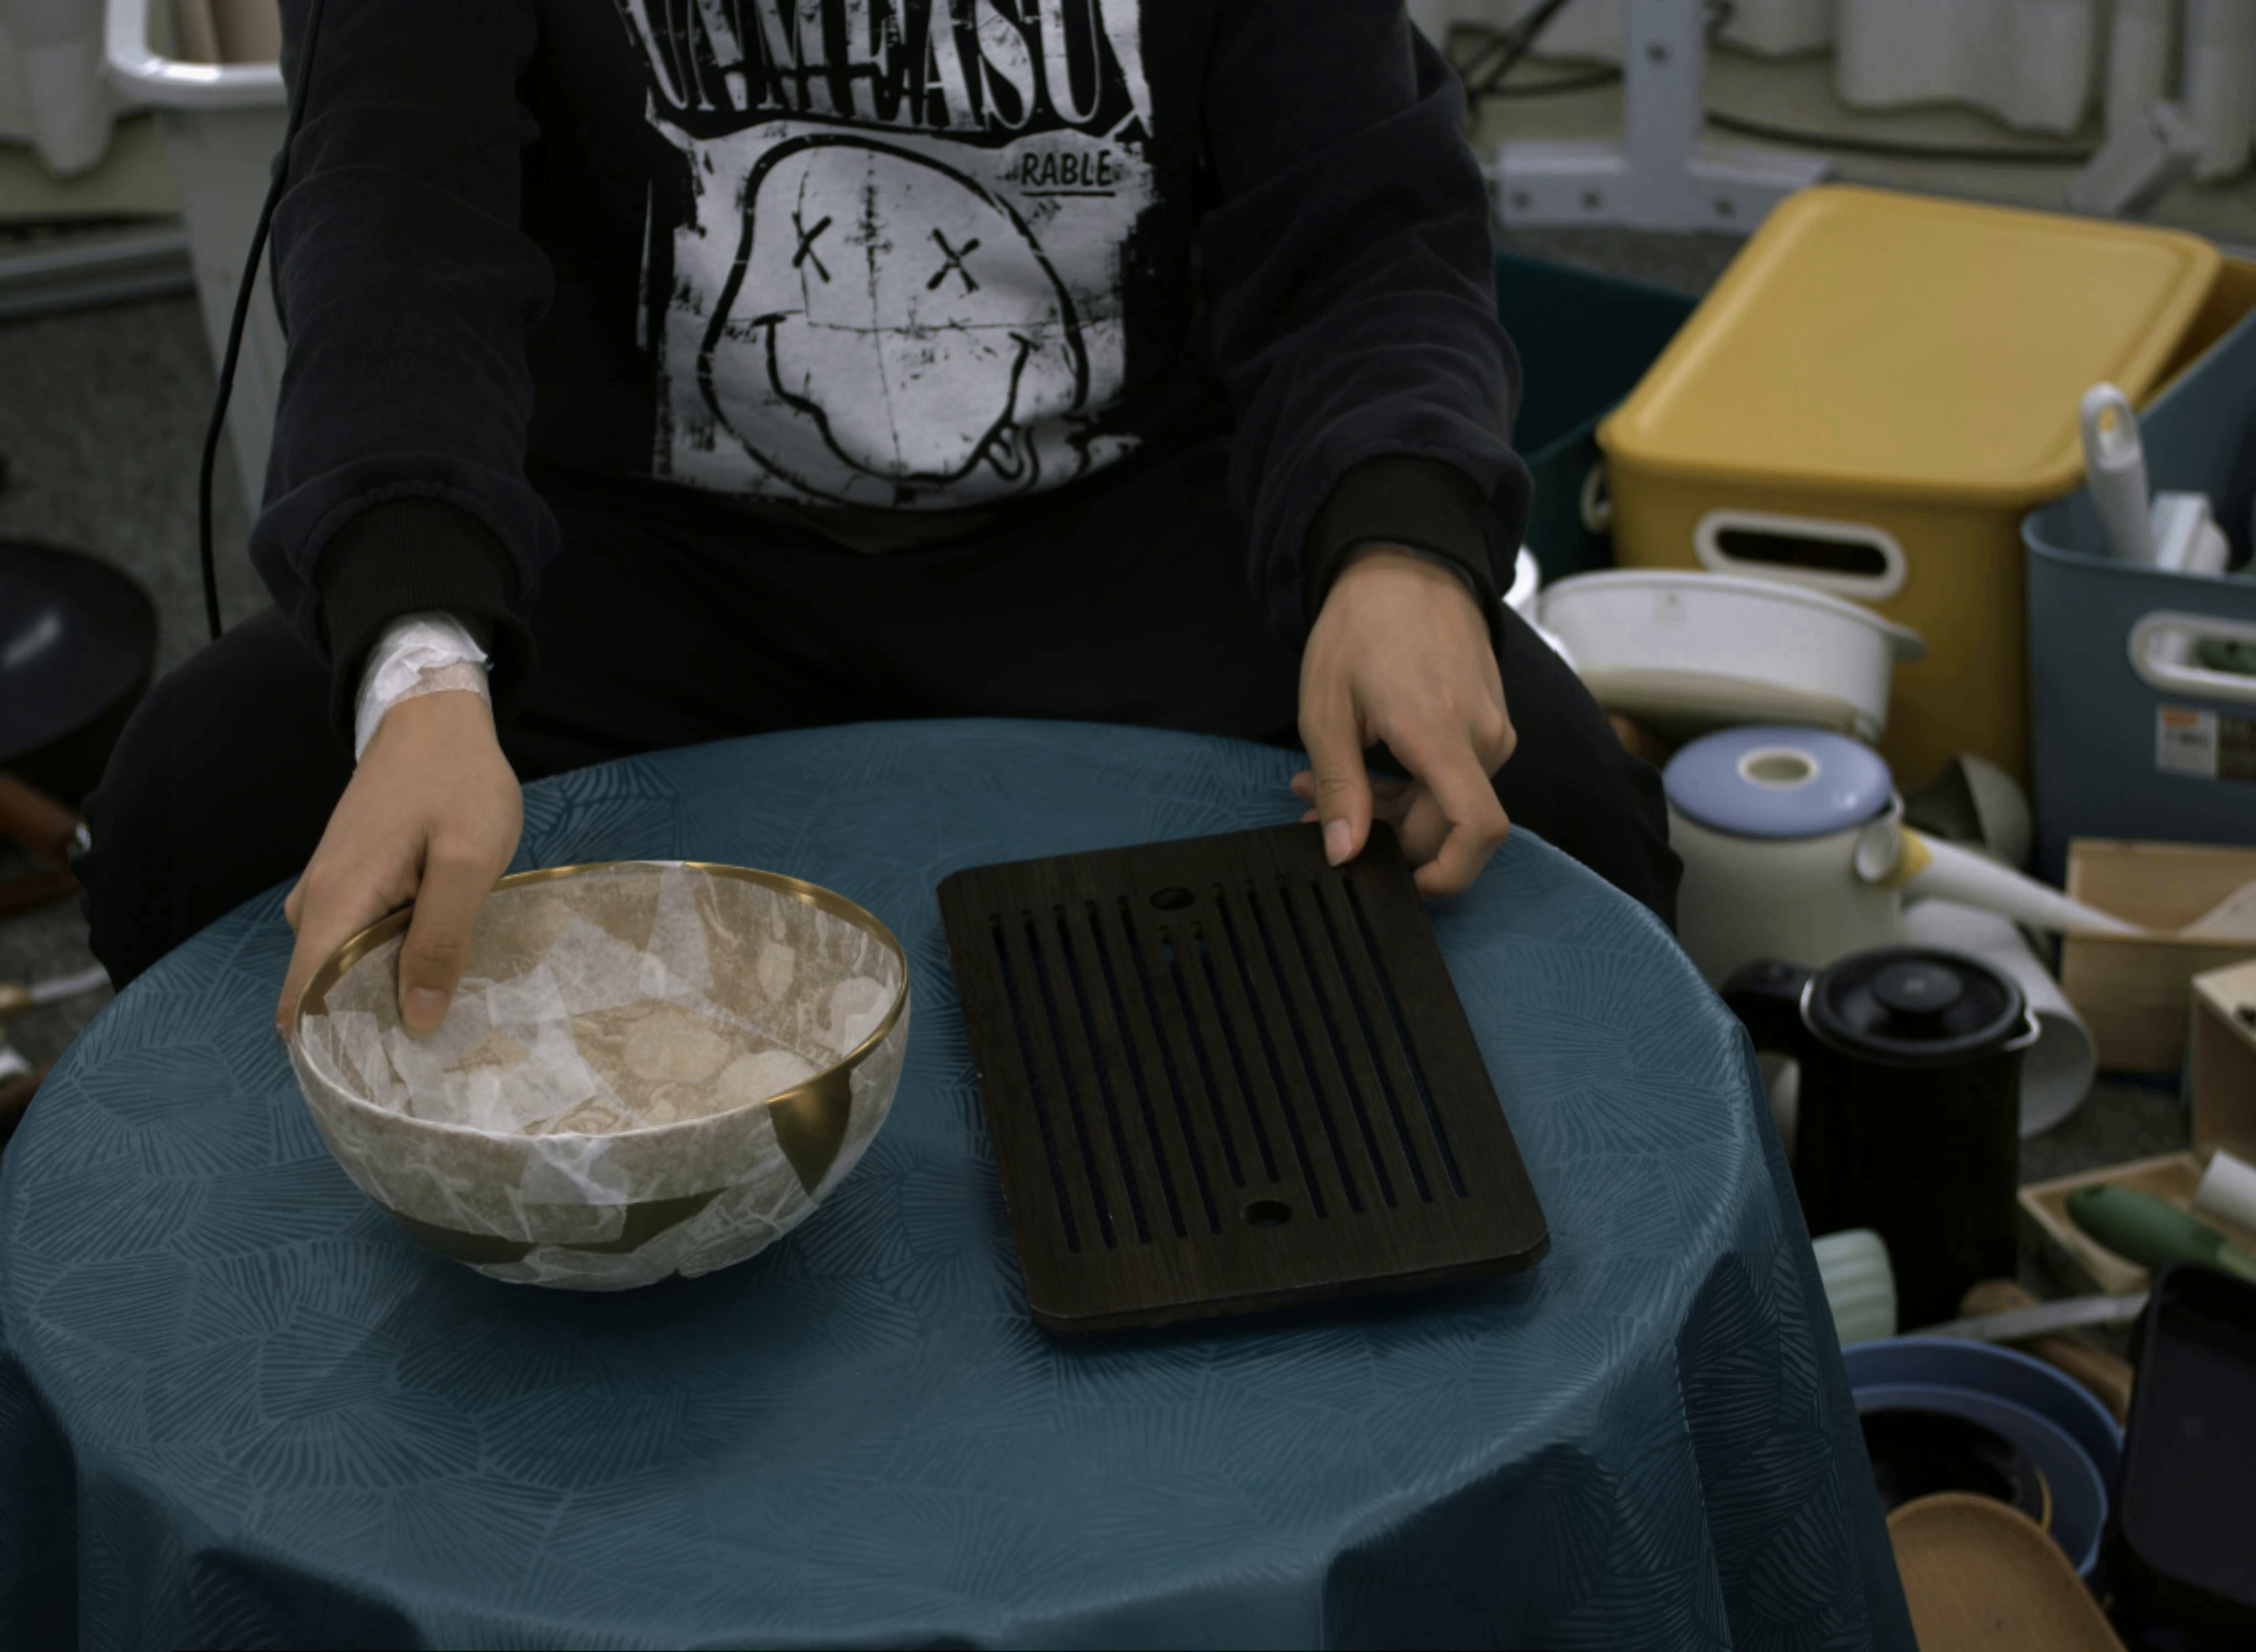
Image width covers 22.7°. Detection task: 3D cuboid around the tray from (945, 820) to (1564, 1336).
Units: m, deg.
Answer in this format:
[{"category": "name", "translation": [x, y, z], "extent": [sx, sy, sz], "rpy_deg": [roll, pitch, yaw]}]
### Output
[{"category": "tray", "translation": [0.037, 0.083, 1.909], "extent": [0.169, 0.018, 0.310], "rpy_deg": [-7, 27, -5]}]

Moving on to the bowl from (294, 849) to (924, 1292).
[{"category": "bowl", "translation": [-0.164, 0.092, 1.834], "extent": [0.213, 0.094, 0.217], "rpy_deg": [-3, 24, 2]}]
